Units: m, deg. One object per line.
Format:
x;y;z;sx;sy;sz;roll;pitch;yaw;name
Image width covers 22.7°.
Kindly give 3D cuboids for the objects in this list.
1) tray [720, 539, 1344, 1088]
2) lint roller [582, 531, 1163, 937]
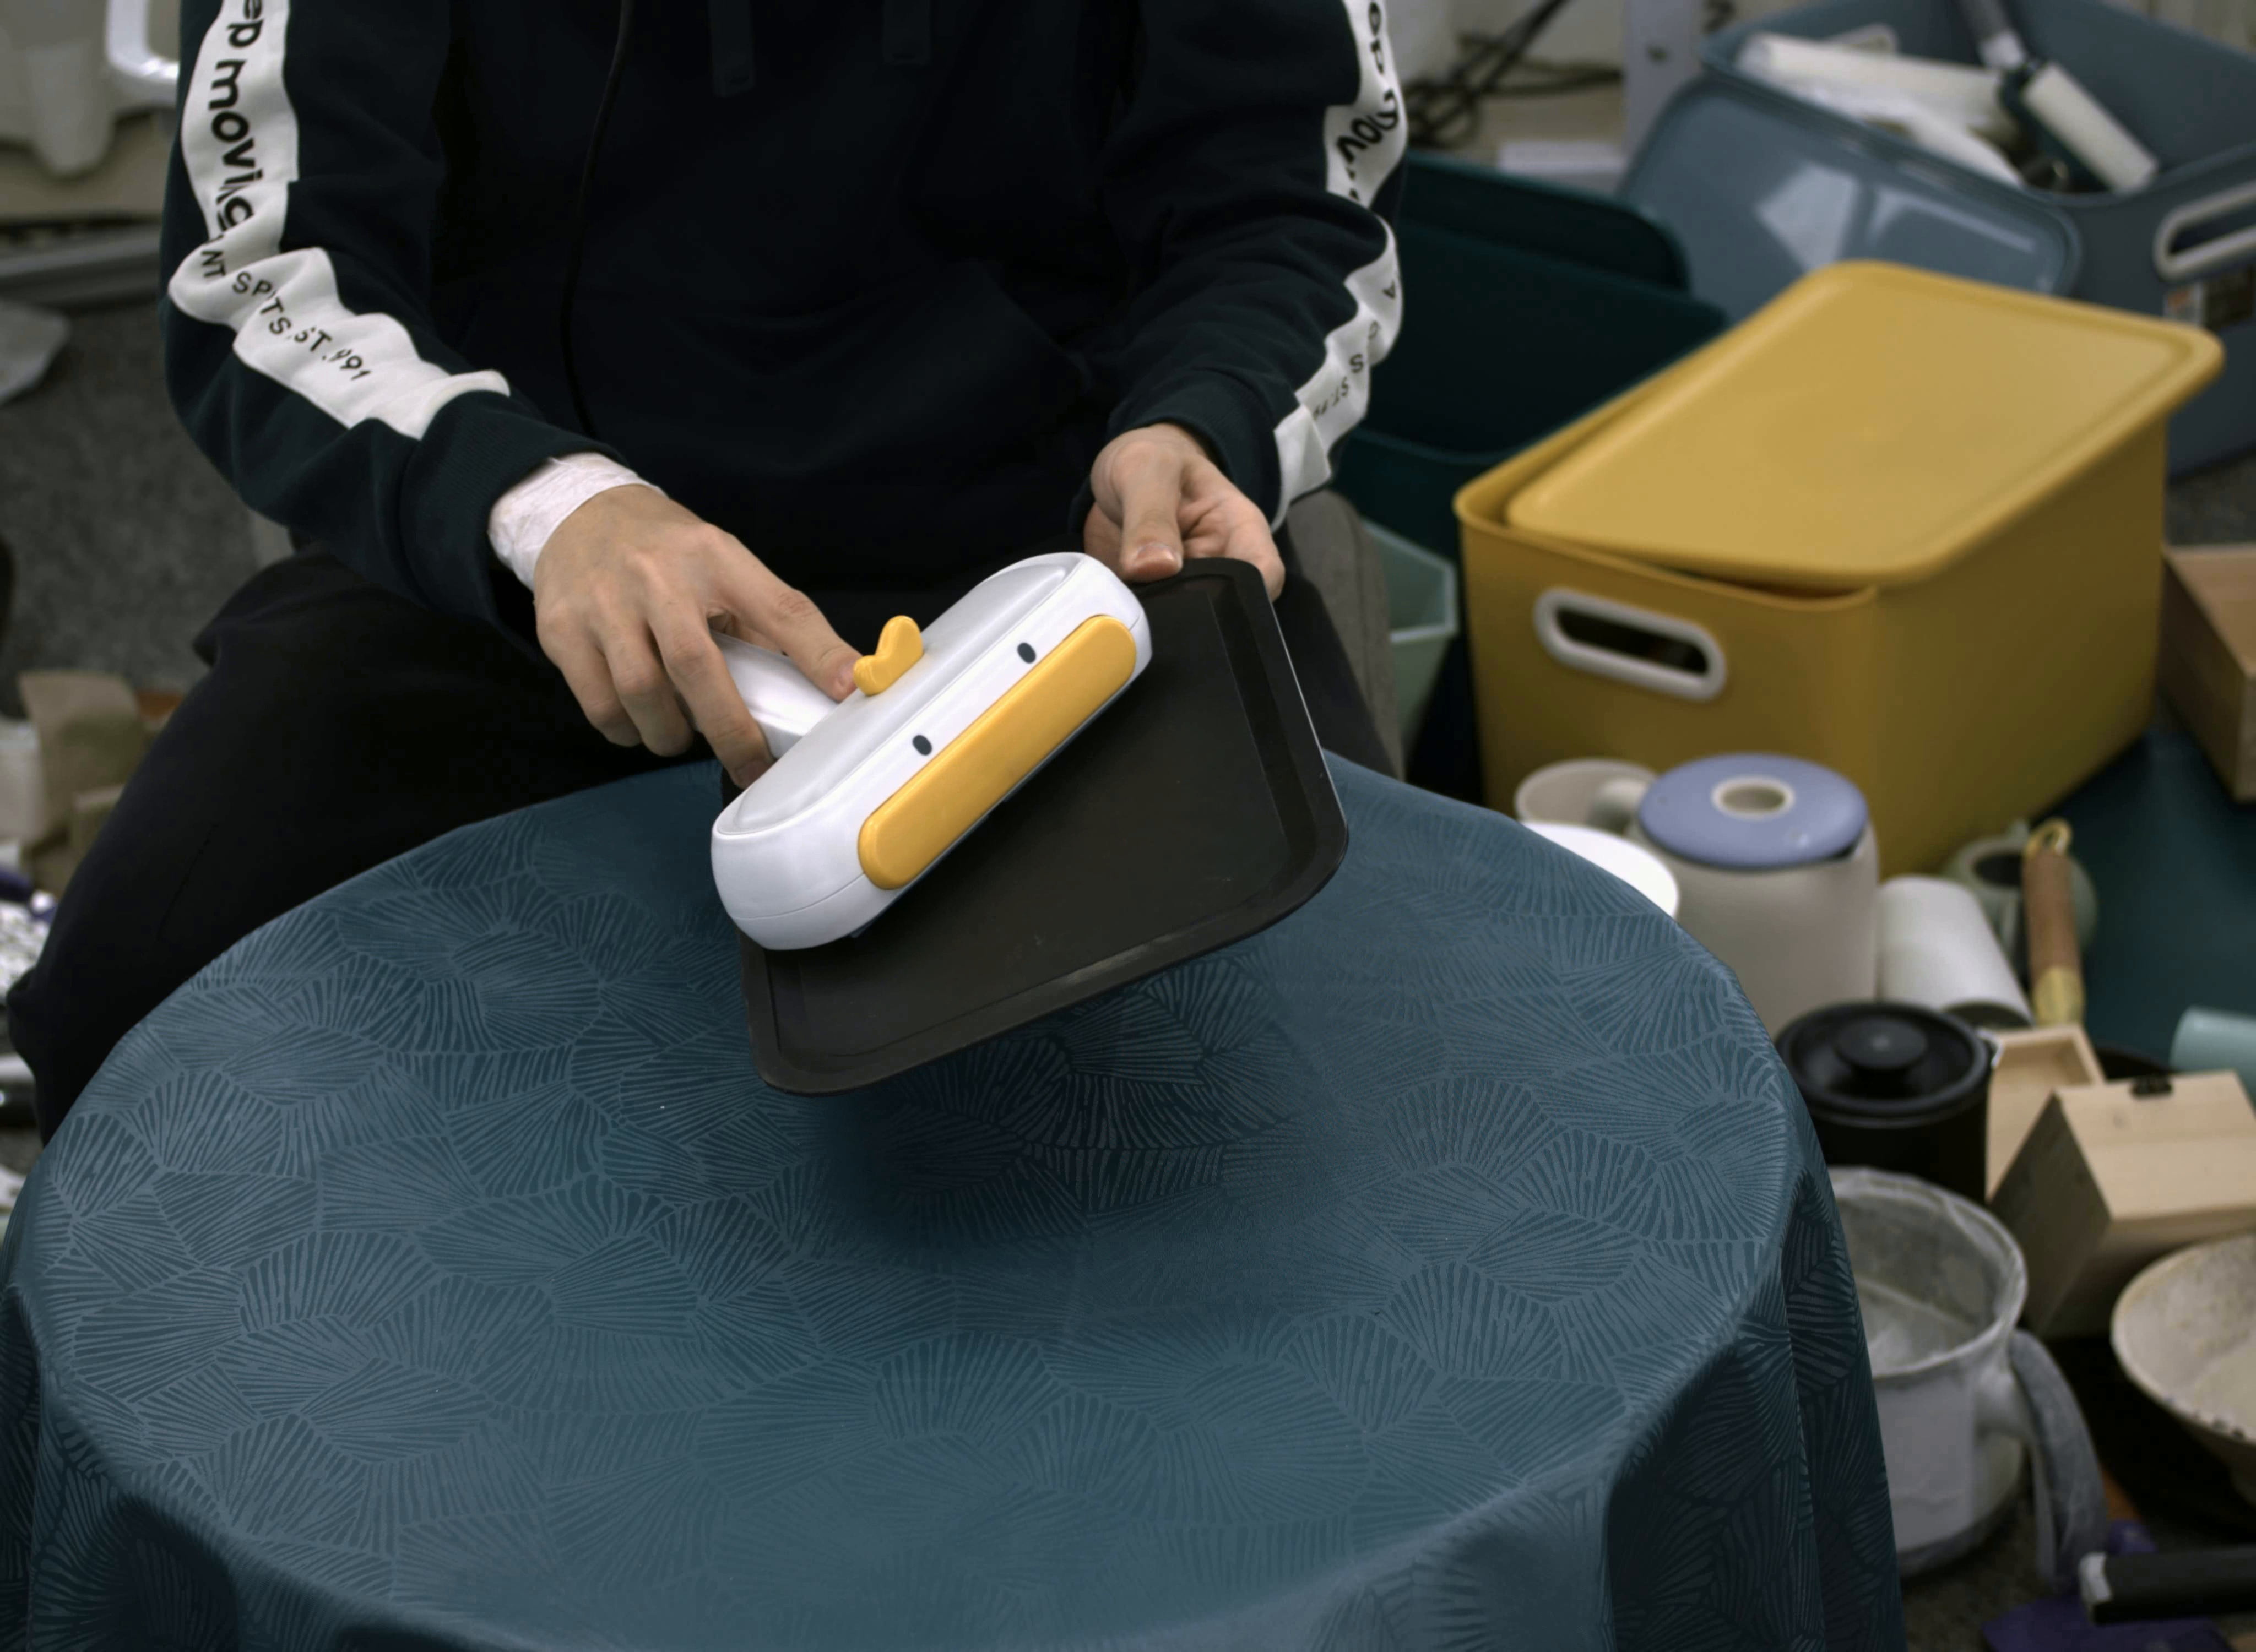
-0.041;-0.014;1.931;0.210;0.010;0.329;-22;26;3;tray
-0.108;-0.039;1.954;0.190;0.073;0.196;1;39;40;lint roller
